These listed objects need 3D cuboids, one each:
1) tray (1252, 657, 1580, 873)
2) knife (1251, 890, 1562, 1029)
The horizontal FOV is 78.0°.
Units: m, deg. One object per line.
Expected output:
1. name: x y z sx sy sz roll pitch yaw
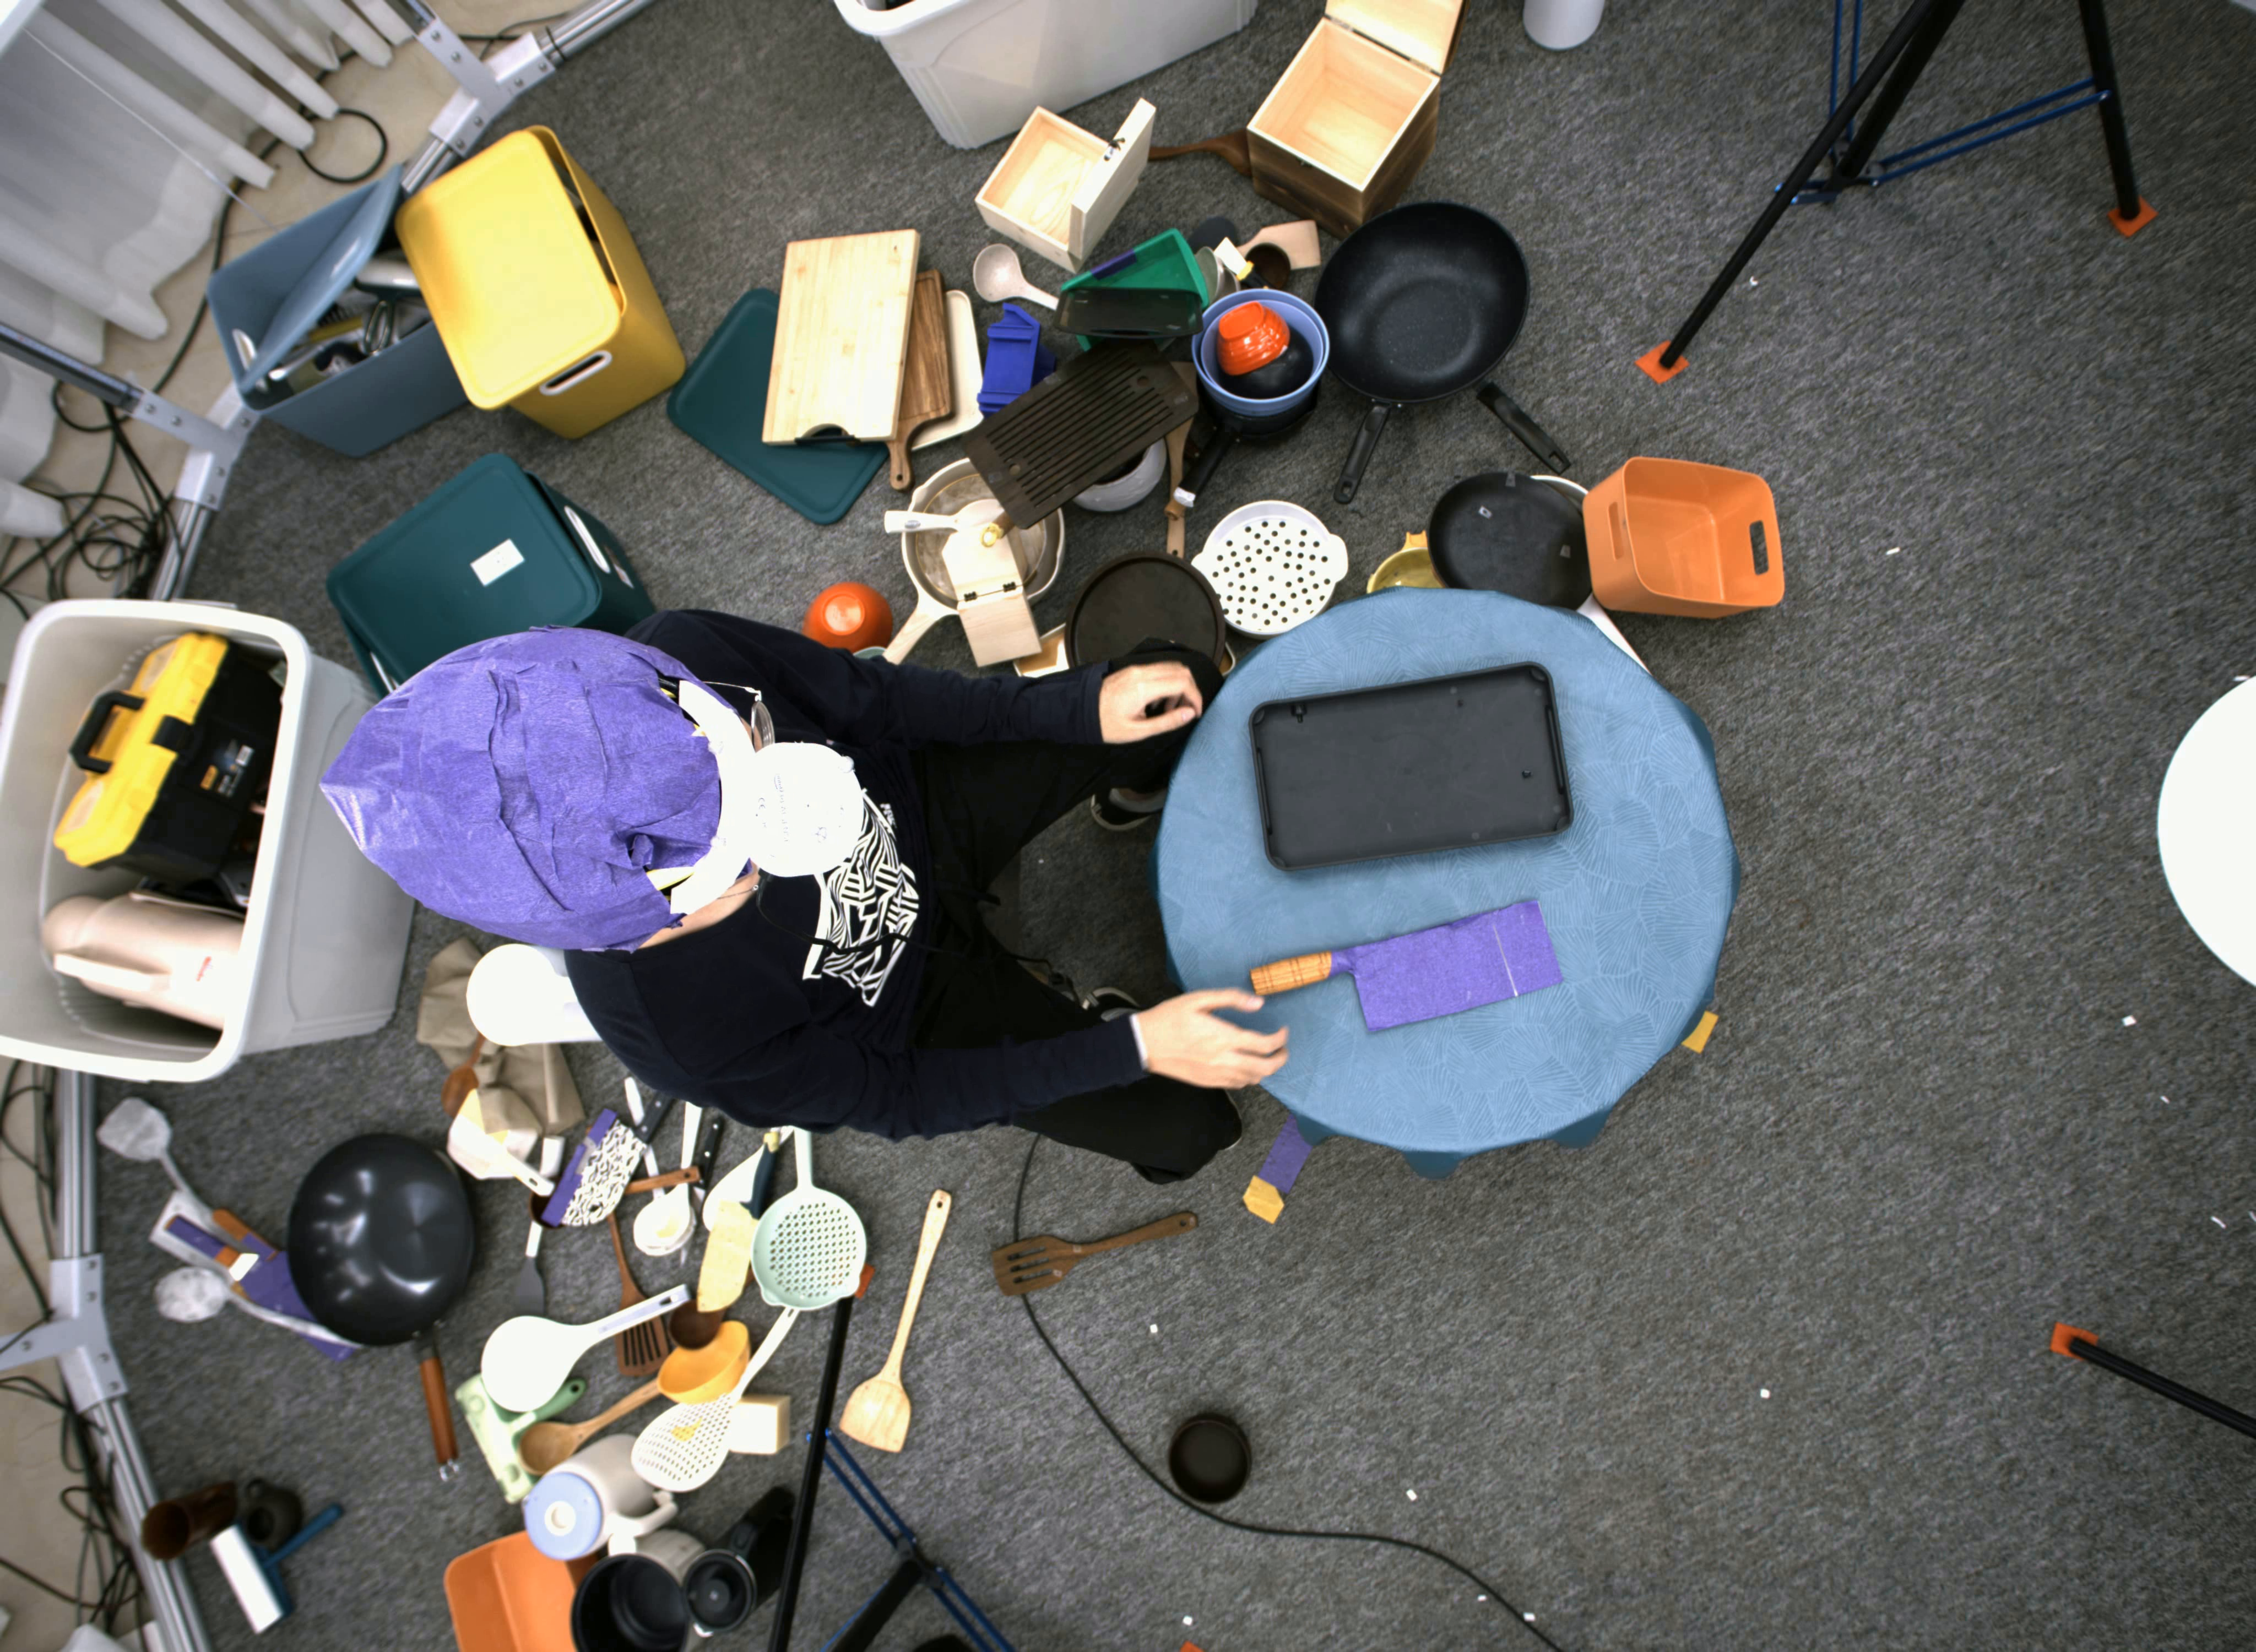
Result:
1. tray: 0.299 -0.063 1.446 0.320 0.037 0.183 -10 85 11
2. knife: 0.290 0.155 1.438 0.317 0.032 0.103 -16 83 9
